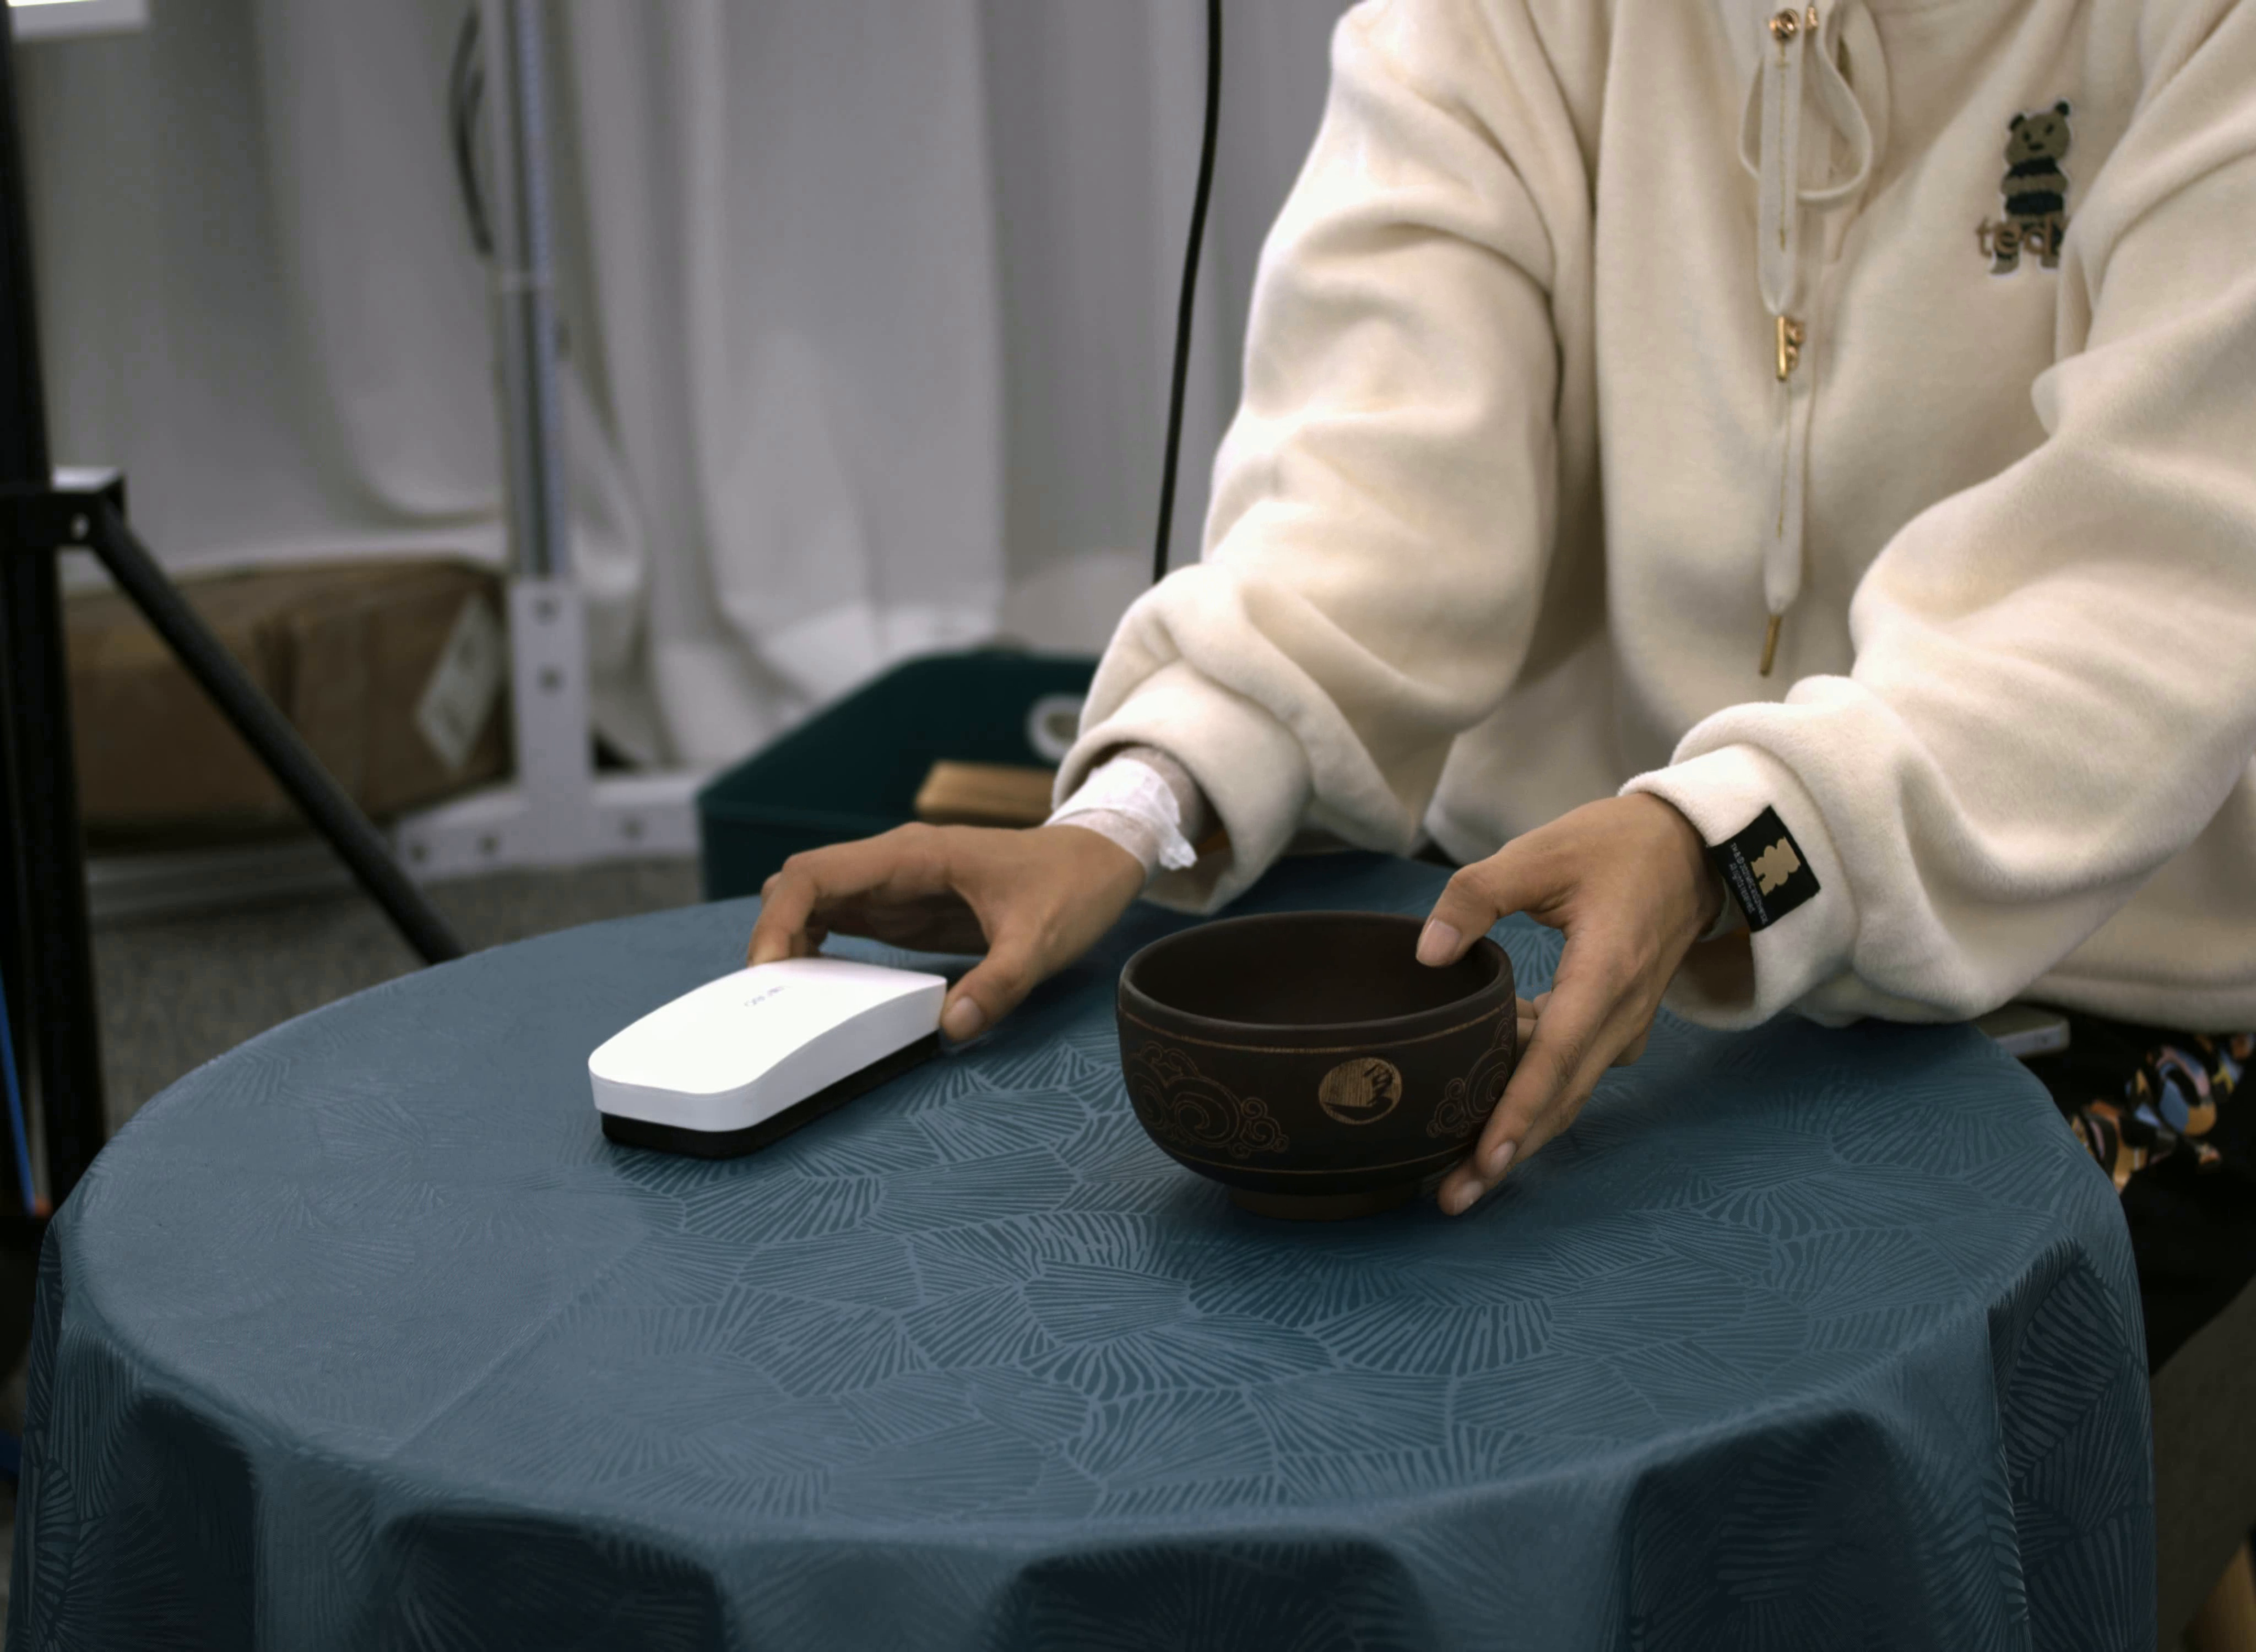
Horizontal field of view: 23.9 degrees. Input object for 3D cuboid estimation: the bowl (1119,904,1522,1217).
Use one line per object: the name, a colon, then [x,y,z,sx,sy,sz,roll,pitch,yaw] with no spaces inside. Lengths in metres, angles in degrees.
bowl: [0.056,0.072,1.543,0.117,0.070,0.118,-1,16,-1]

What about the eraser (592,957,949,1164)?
eraser: [-0.109,0.069,1.658,0.064,0.034,0.129,7,19,31]
